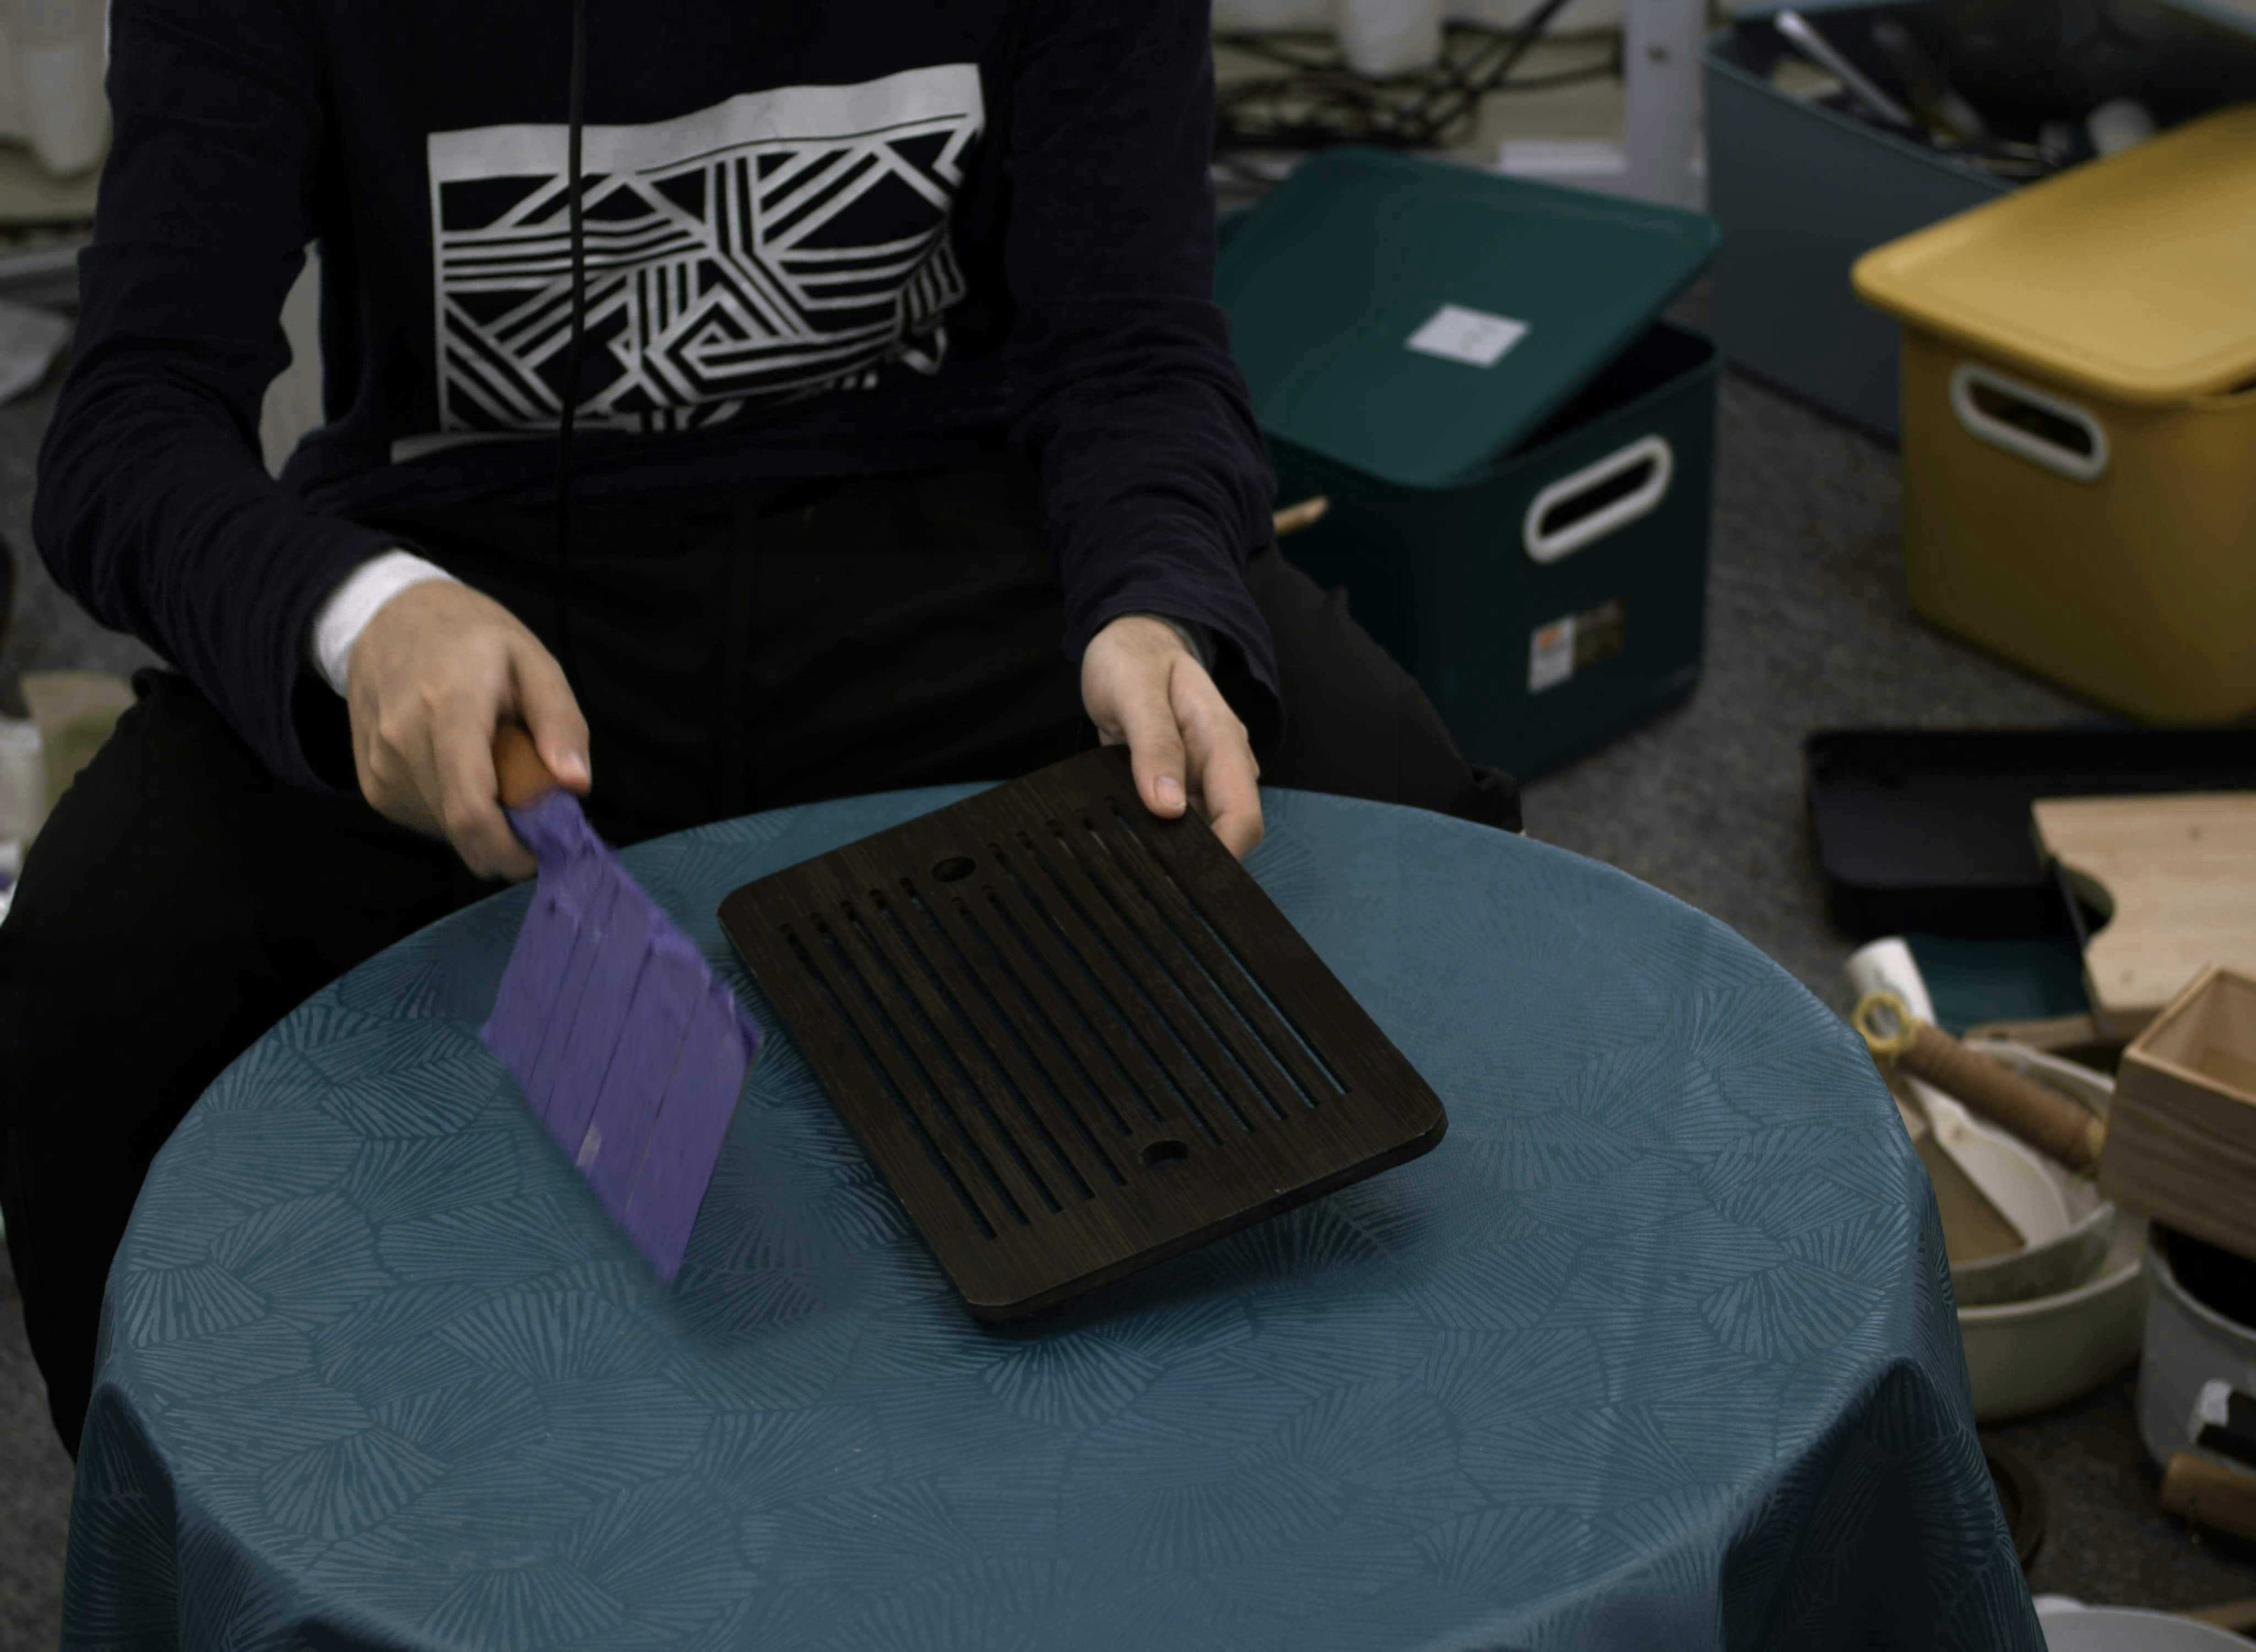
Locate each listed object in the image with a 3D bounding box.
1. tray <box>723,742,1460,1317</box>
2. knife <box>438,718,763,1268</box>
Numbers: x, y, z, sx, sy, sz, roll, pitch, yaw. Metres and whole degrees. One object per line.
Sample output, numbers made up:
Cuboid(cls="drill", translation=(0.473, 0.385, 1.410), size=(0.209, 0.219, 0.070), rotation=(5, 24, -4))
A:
Cuboid(cls="tray", translation=(-0.019, 0.066, 1.921), size=(0.170, 0.018, 0.308), rotation=(-21, 31, -12))
Cuboid(cls="knife", translation=(-0.191, 0.053, 1.885), size=(0.032, 0.103, 0.317), rotation=(19, 12, -26))
